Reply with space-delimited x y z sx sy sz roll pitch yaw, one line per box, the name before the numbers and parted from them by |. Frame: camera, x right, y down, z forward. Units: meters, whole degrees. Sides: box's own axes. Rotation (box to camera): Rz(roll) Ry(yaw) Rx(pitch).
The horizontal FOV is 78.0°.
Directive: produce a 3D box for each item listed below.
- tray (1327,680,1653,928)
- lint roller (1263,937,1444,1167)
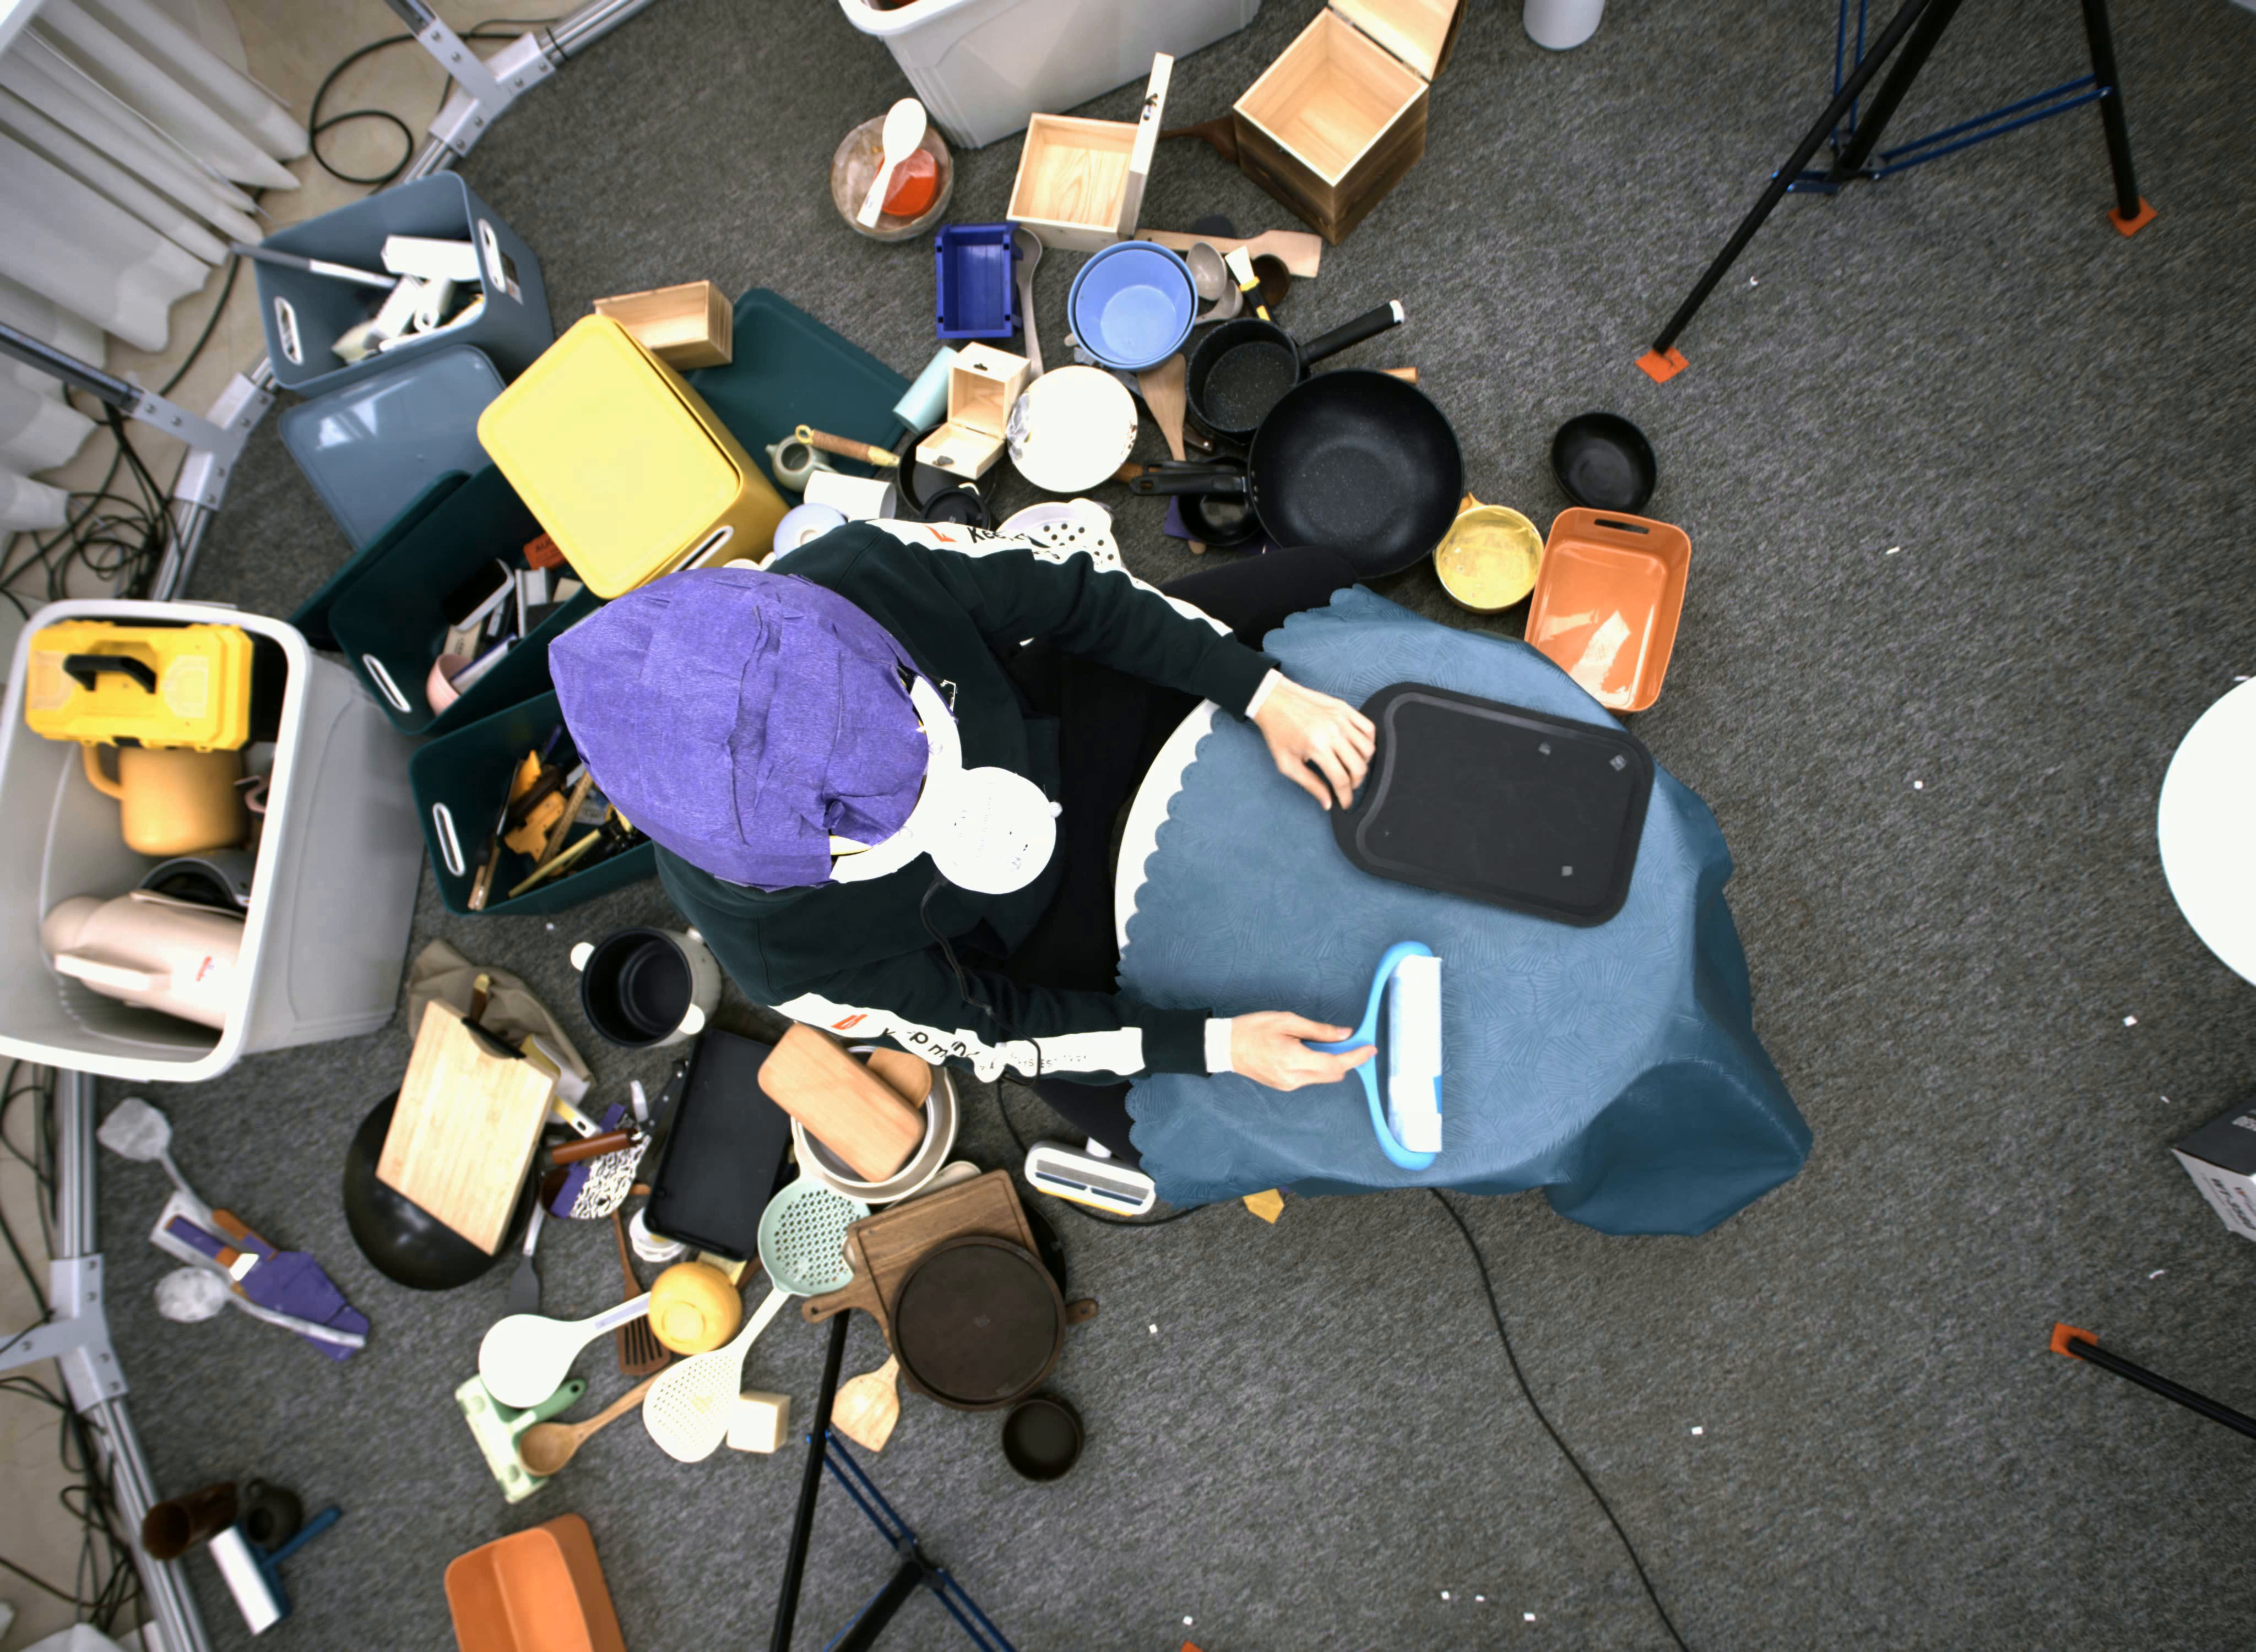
tray | 0.369 -0.028 1.423 0.326 0.010 0.210 15 89 5
lint roller | 0.229 0.227 1.393 0.180 0.068 0.227 -2 85 1
